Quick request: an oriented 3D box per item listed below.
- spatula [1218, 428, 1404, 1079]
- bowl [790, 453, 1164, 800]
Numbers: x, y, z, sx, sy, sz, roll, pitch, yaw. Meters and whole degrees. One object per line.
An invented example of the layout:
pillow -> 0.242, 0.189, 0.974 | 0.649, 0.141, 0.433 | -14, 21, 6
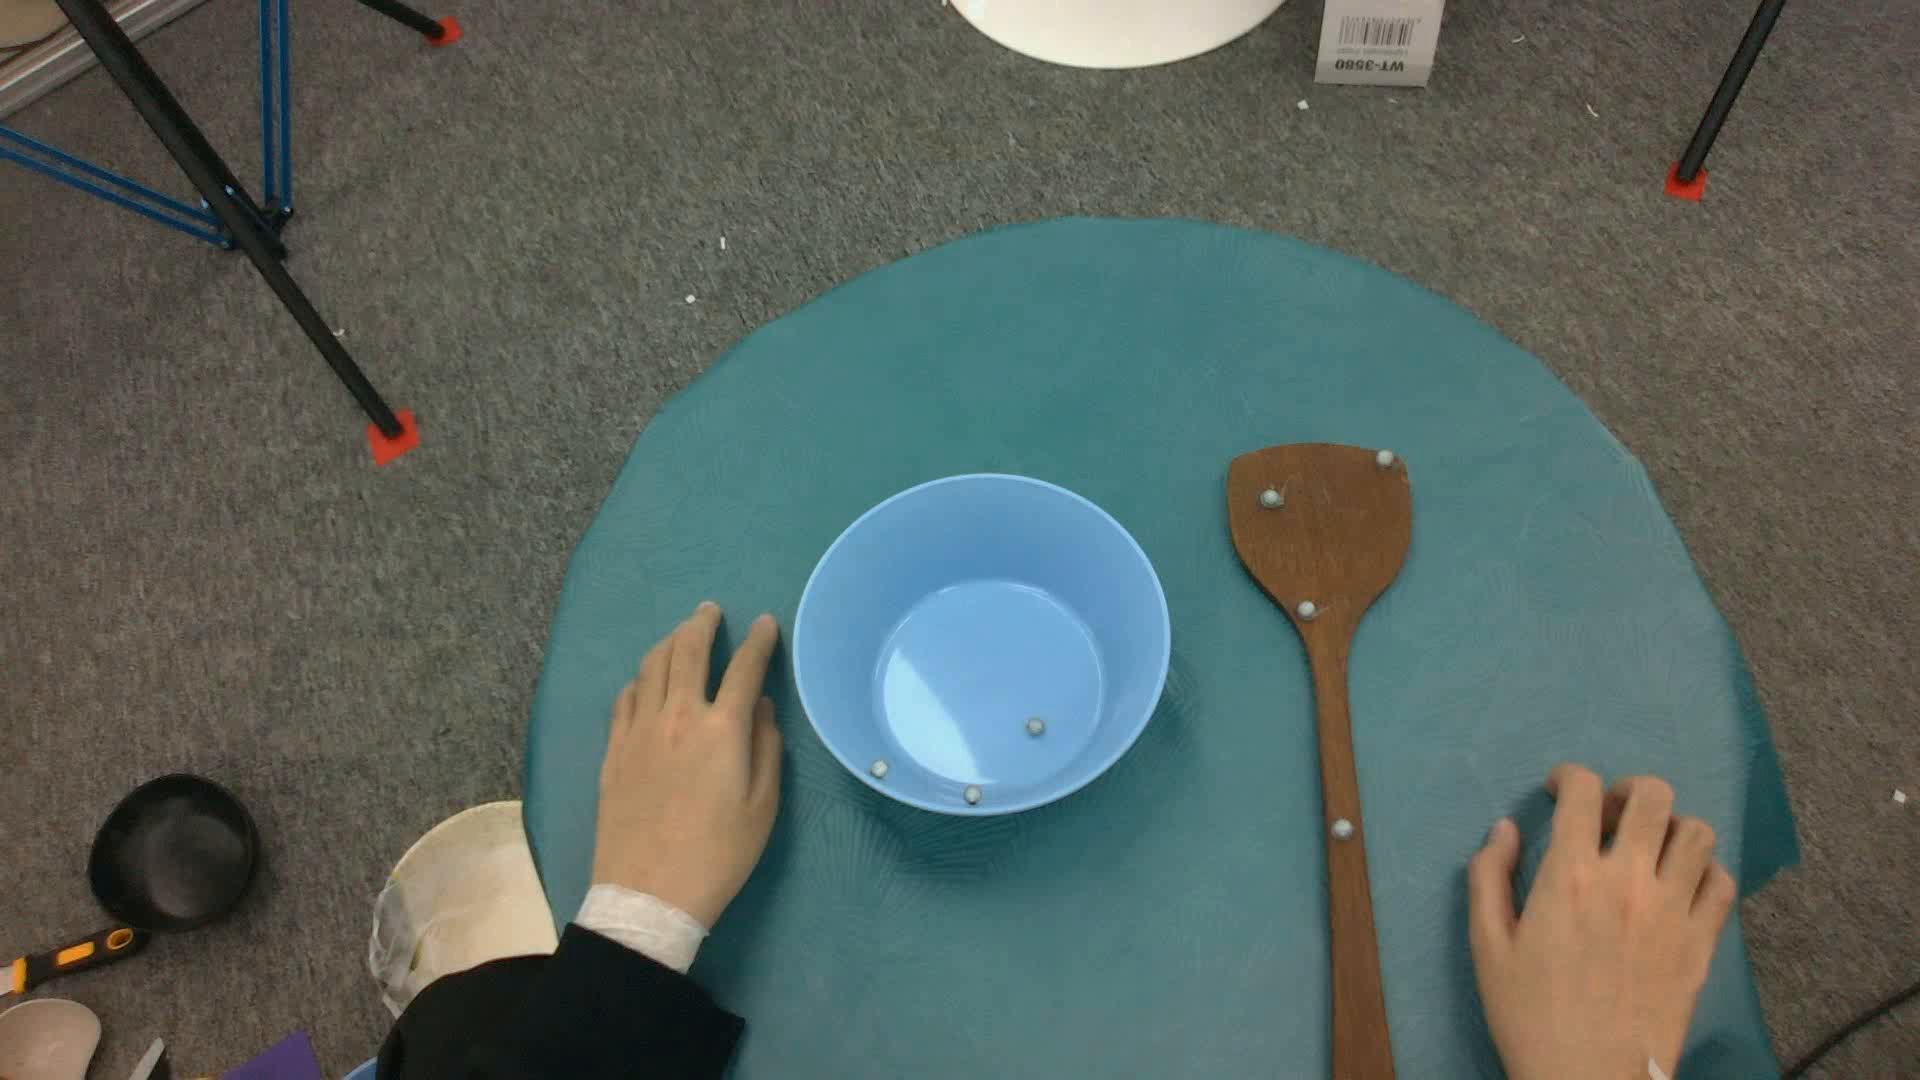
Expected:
spatula -> 0.177, 0.110, 0.650 | 0.096, 0.016, 0.387 | 0, 61, 6
bowl -> 0.010, 0.049, 0.667 | 0.176, 0.070, 0.177 | -2, 62, 4
